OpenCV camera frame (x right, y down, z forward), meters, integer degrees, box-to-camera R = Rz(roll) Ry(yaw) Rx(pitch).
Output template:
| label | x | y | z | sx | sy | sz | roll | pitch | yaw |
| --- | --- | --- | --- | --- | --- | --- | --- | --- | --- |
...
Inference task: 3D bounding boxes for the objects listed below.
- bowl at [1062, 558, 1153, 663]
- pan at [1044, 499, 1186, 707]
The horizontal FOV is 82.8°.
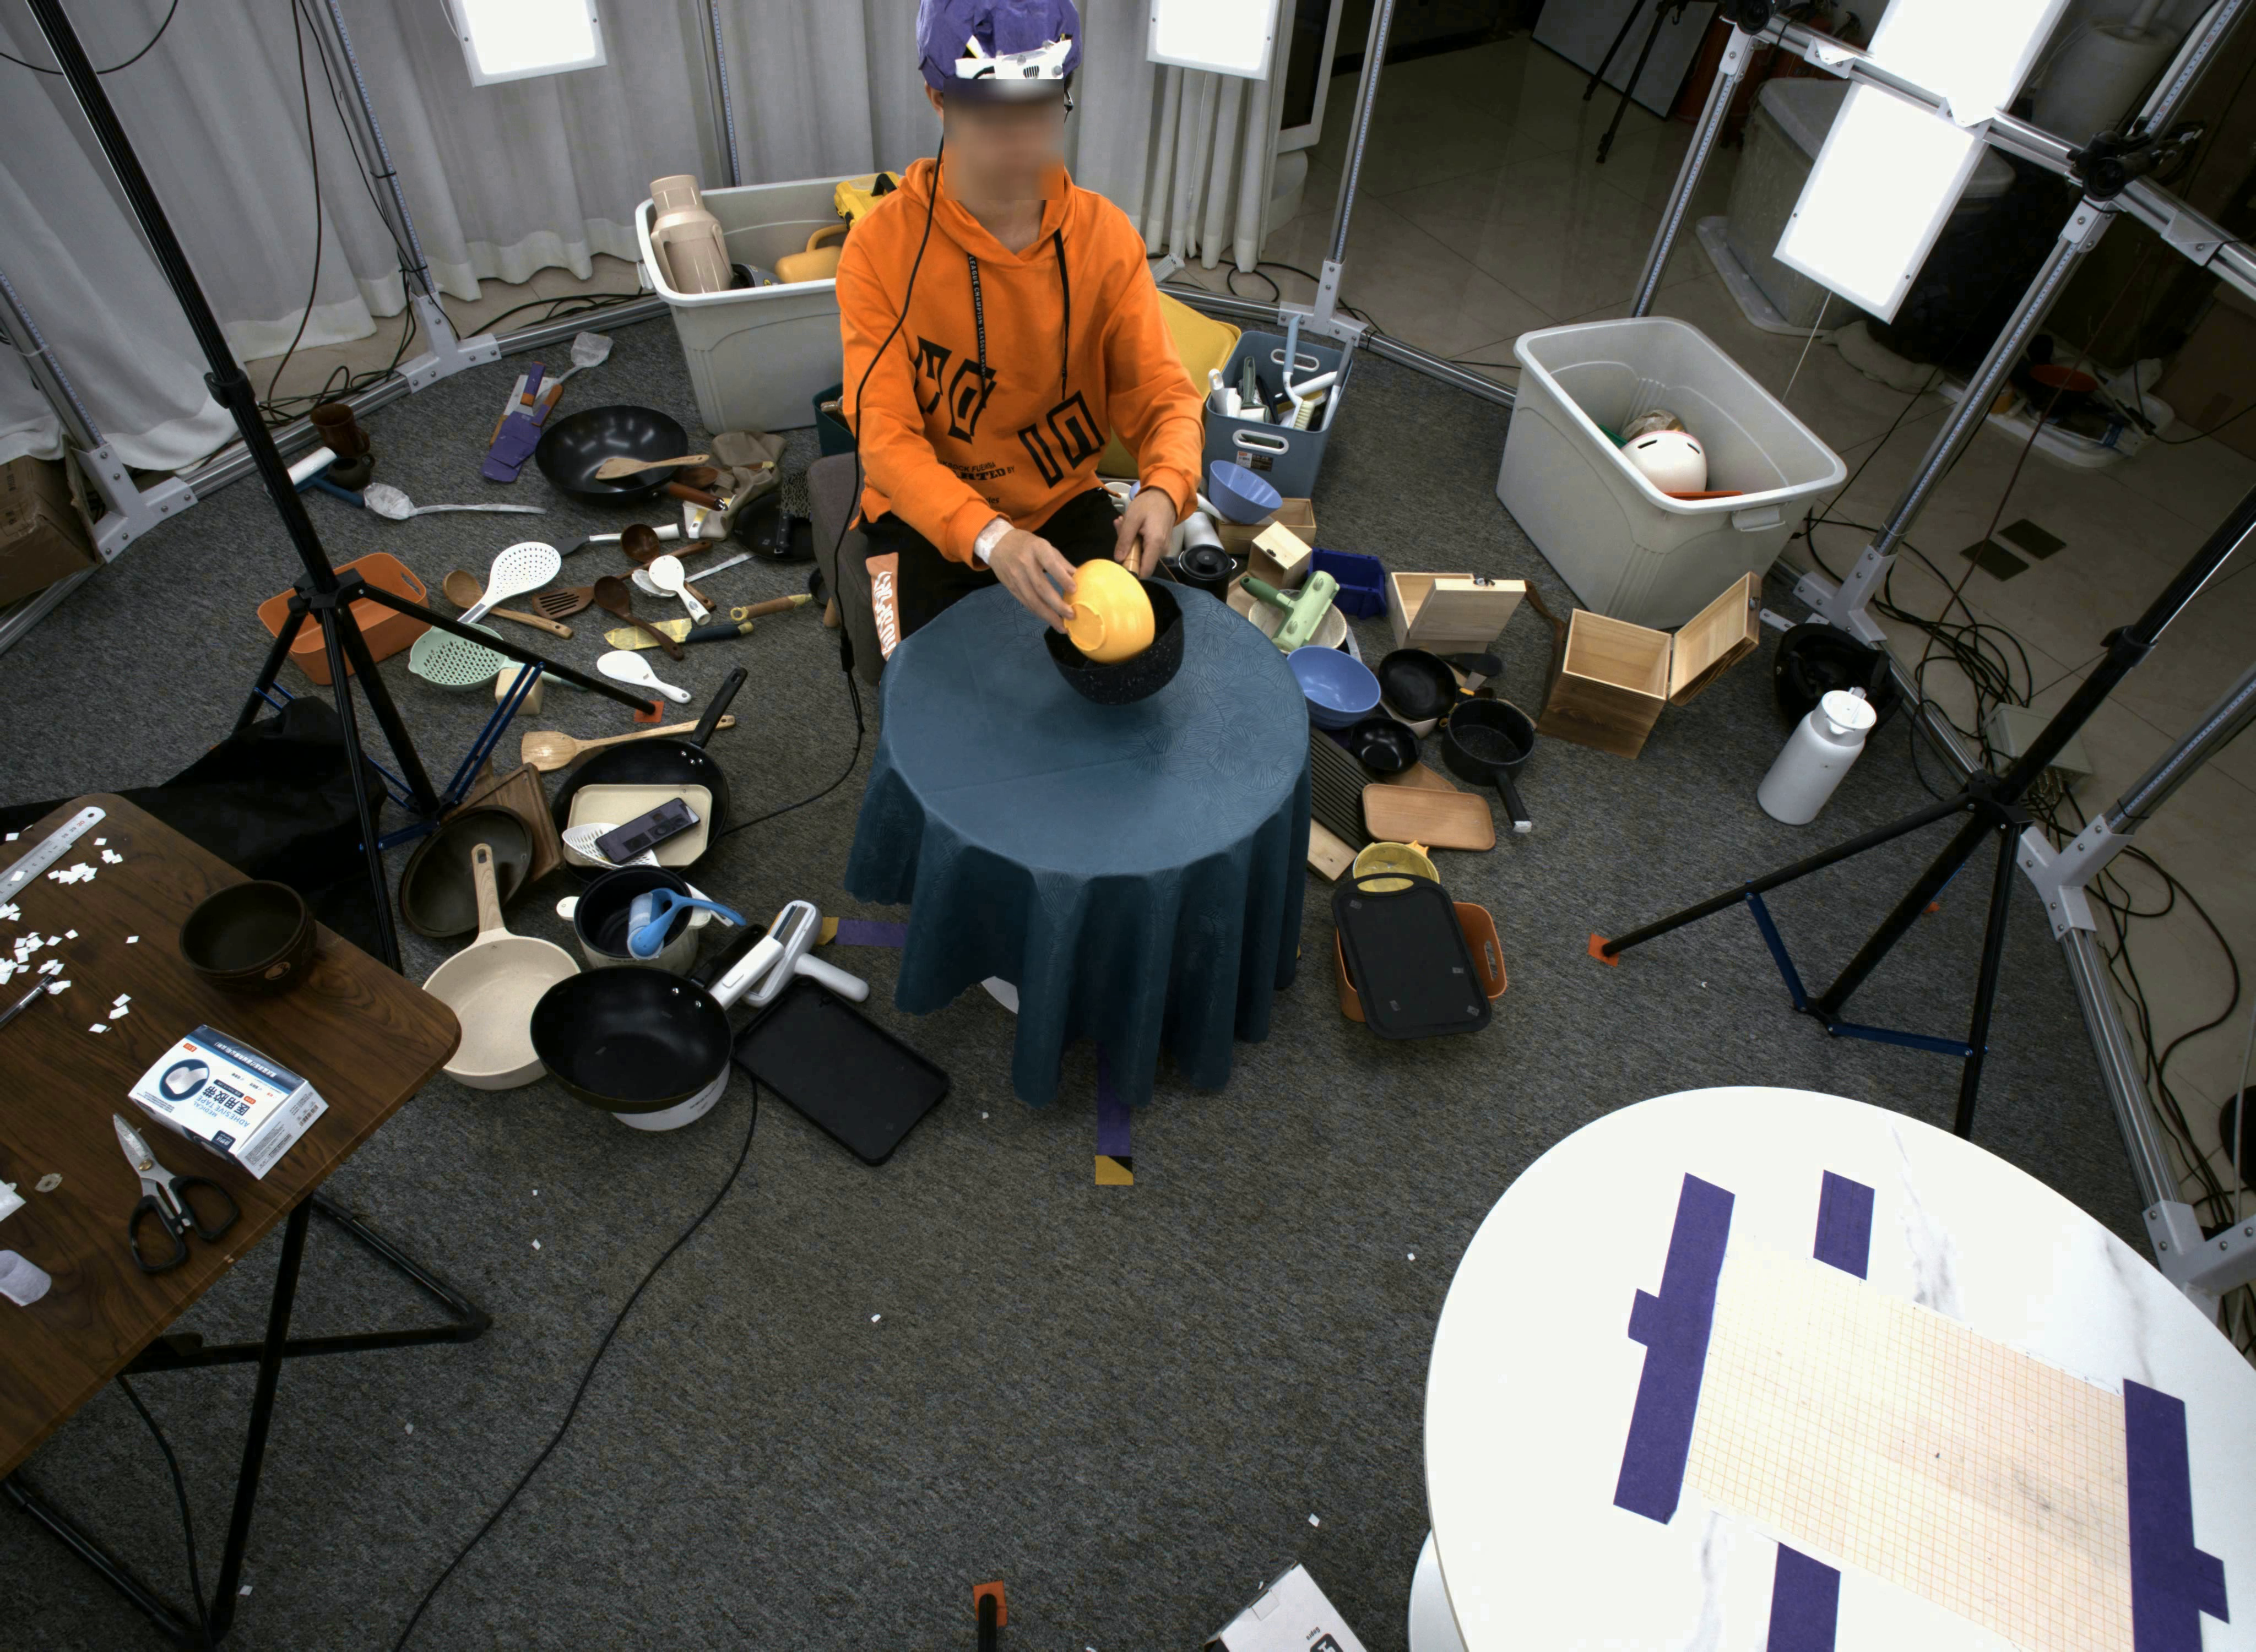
| label | x | y | z | sx | sy | sz | roll | pitch | yaw |
| --- | --- | --- | --- | --- | --- | --- | --- | --- | --- |
| bowl | -0.040 | -0.270 | 1.676 | 0.147 | 0.142 | 0.061 | 36 | 50 | 24 |
| pan | 0.000 | -0.312 | 1.796 | 0.207 | 0.105 | 0.351 | -7 | 46 | 20 |
